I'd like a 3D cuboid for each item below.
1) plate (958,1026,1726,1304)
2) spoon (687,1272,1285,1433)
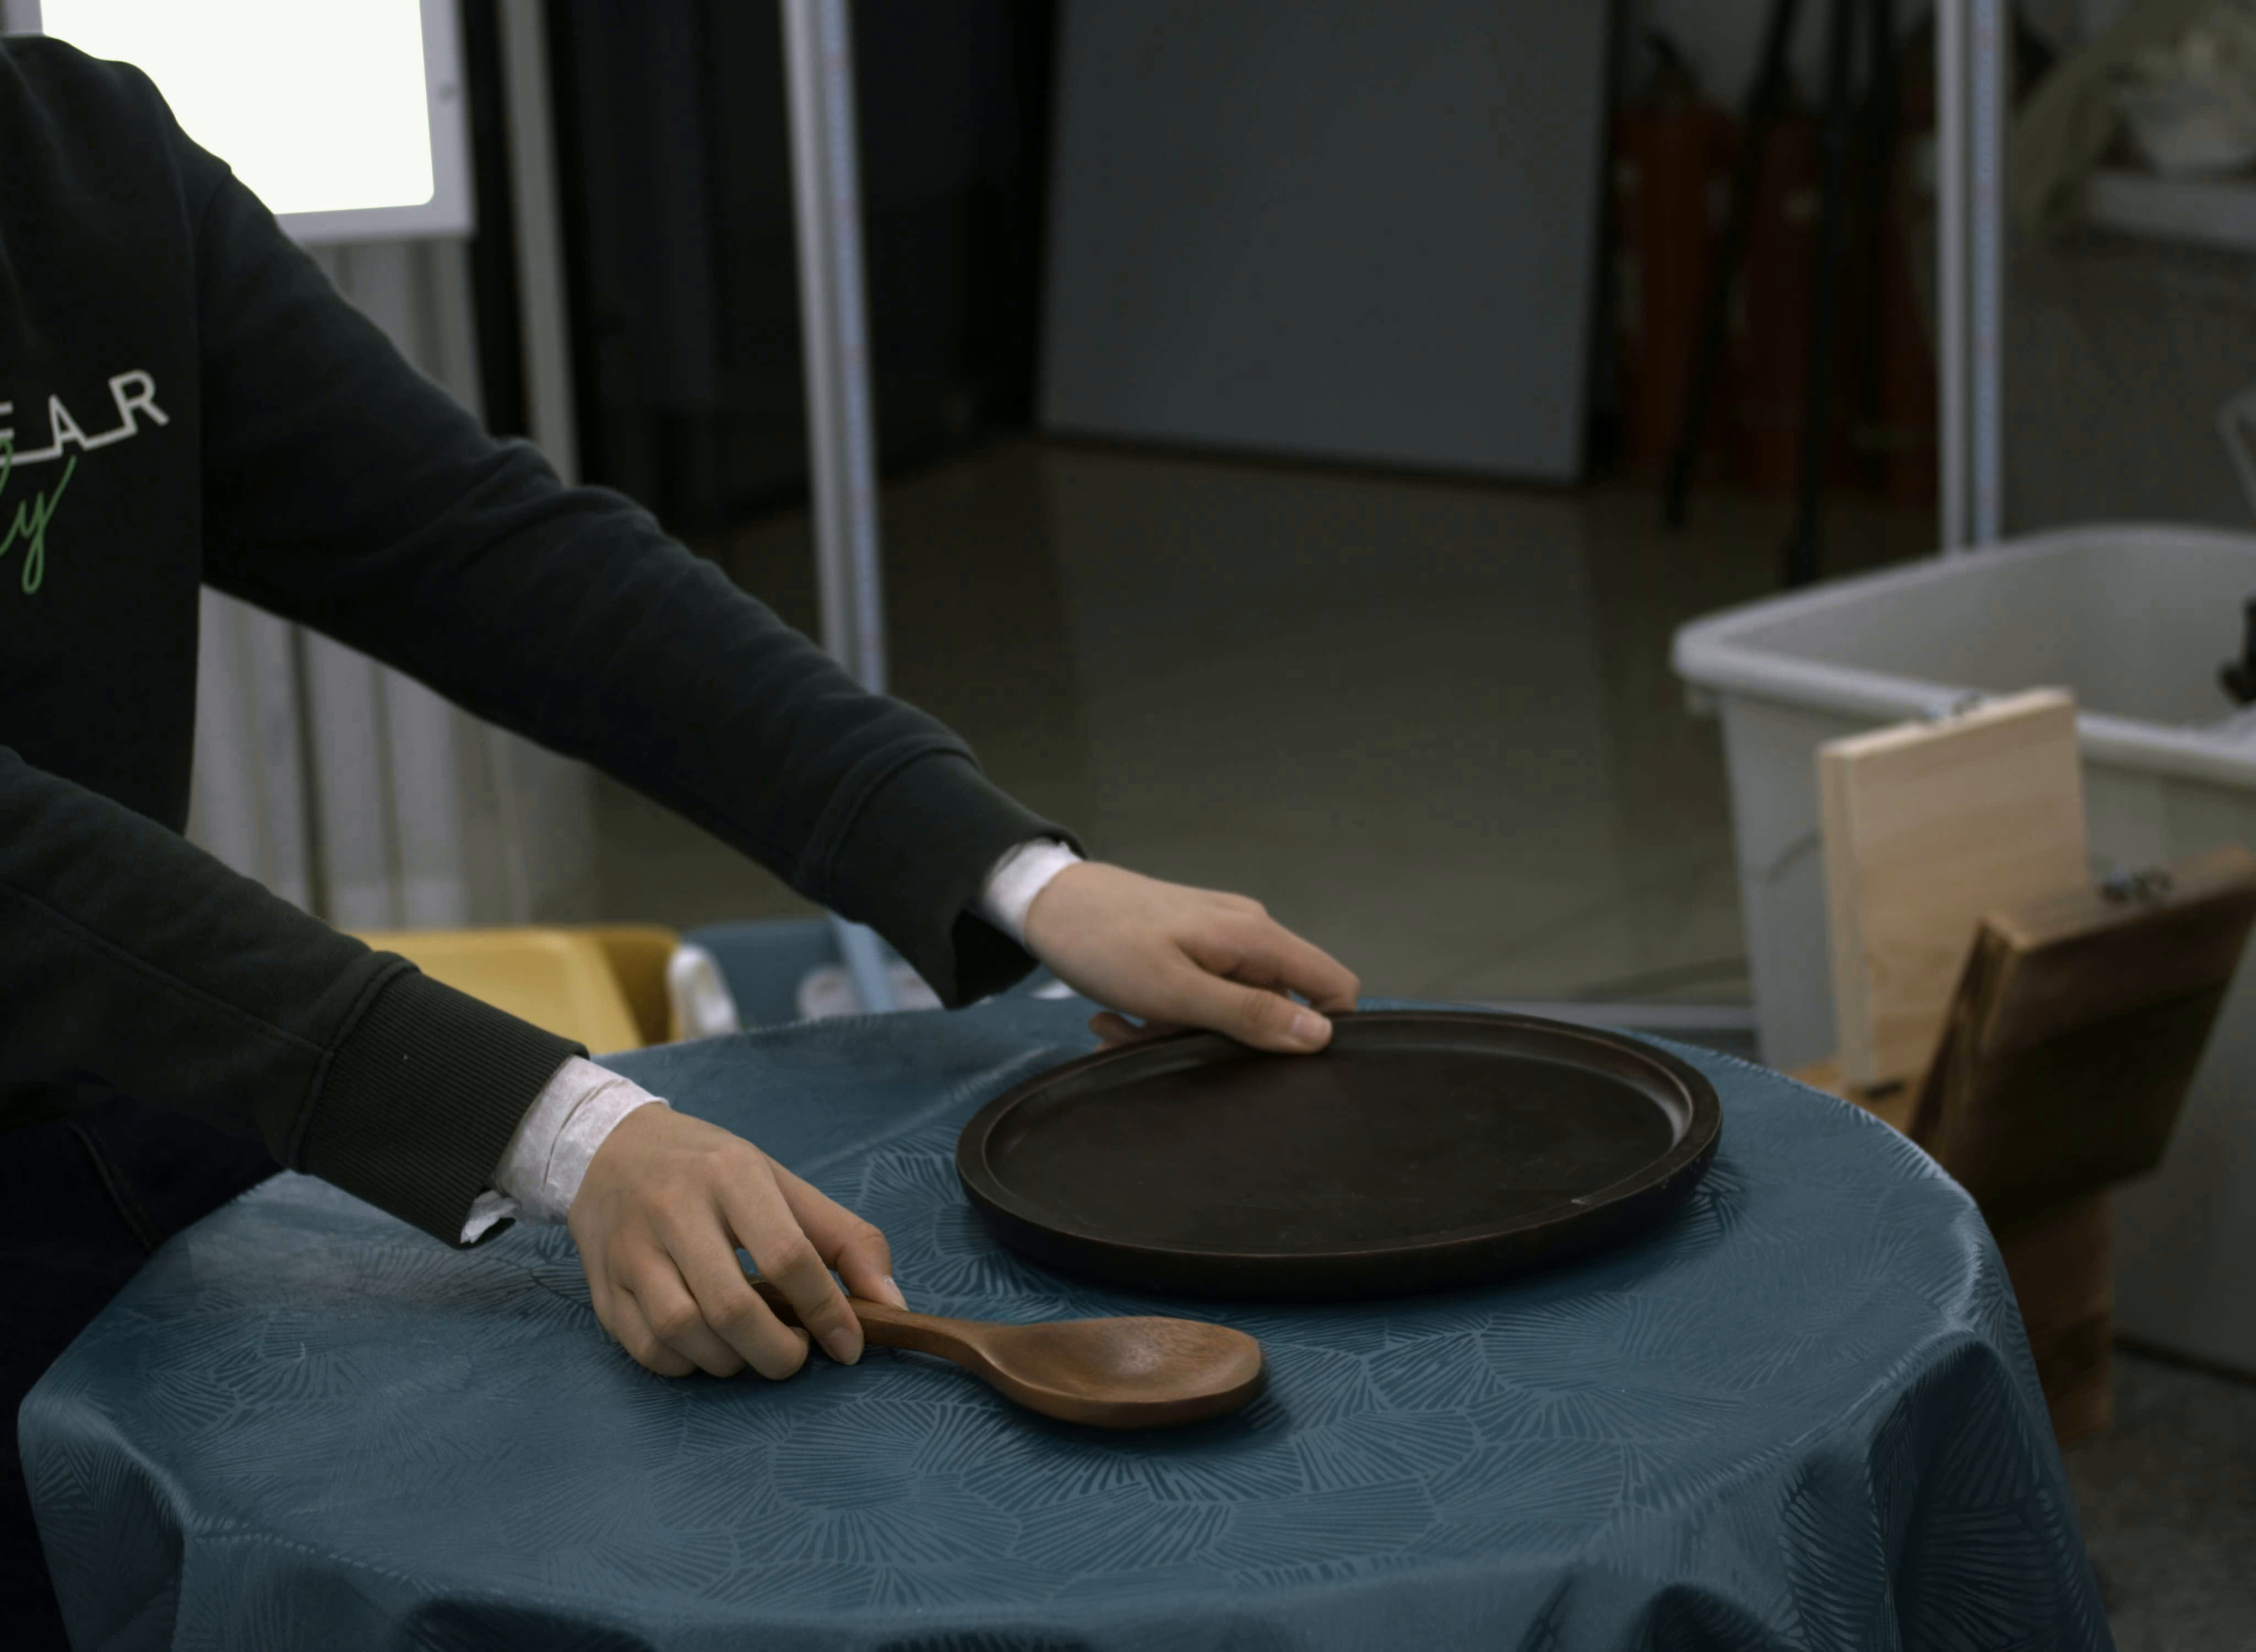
[{"bbox_3d":[0.069,0.107,1.754,0.251,0.029,0.255,-4,14,0],"label":"plate"},{"bbox_3d":[-0.047,0.156,1.610,0.217,0.017,0.074,7,18,37],"label":"spoon"}]
